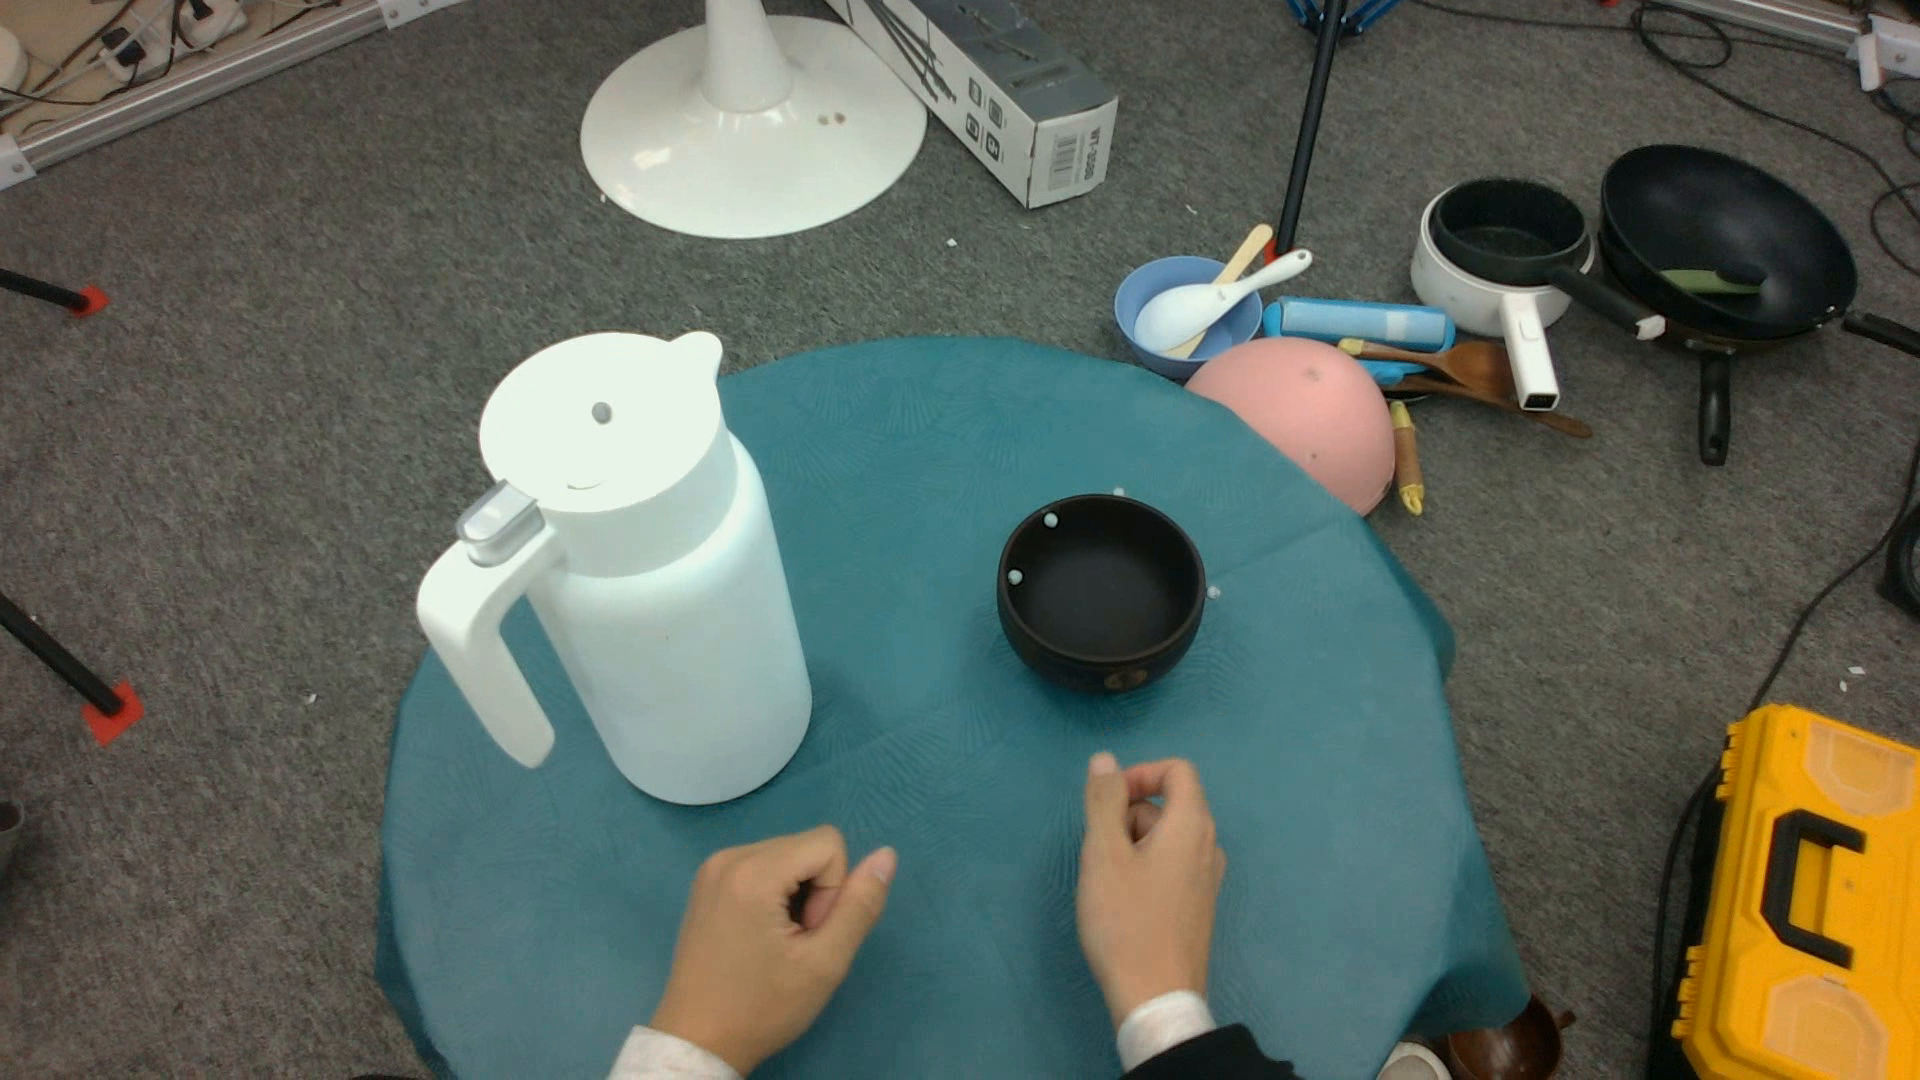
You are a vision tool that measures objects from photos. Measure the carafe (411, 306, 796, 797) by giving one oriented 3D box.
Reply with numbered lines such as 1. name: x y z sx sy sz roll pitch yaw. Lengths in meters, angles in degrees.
1. carafe: -0.161 0.032 0.669 0.124 0.267 0.173 28 60 17

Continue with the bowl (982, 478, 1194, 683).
1. bowl: 0.071 0.030 0.785 0.118 0.069 0.118 0 55 1
